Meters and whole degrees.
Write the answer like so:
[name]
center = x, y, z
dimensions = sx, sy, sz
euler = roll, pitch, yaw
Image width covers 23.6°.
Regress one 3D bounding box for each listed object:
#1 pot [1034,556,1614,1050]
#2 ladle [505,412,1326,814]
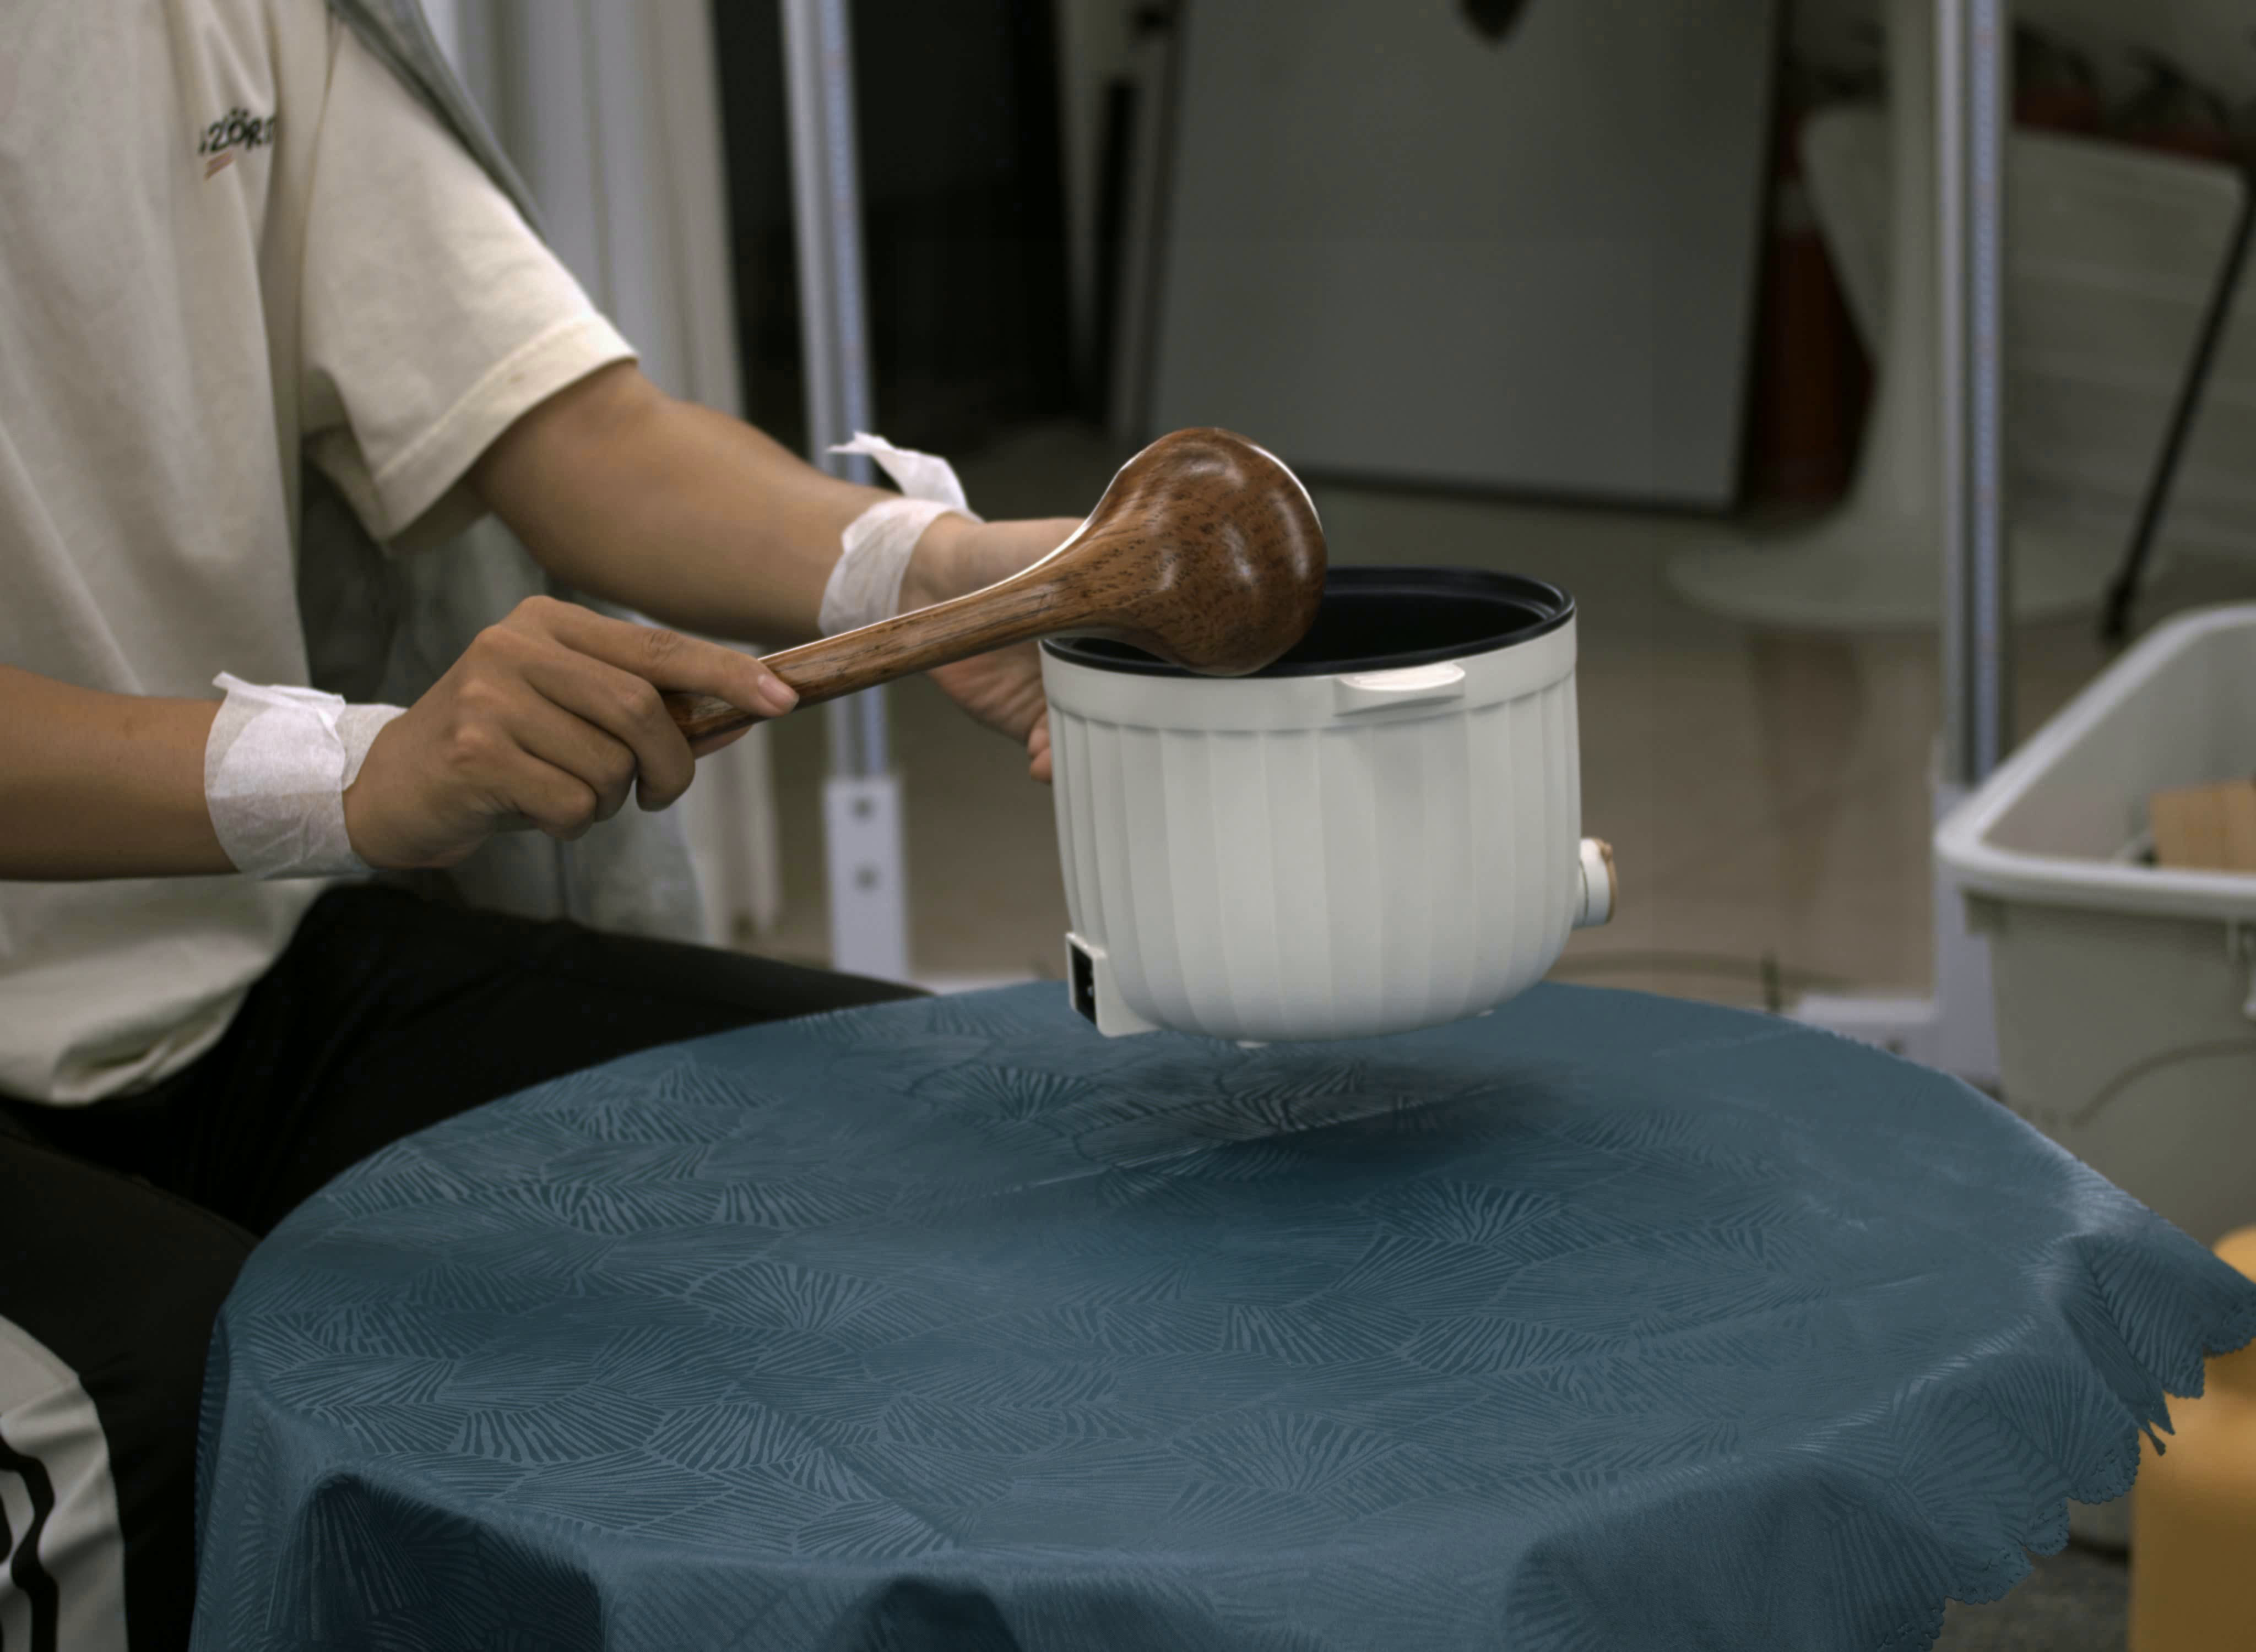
[pot]
center = 0.068, -0.008, 1.822
dimensions = 0.187, 0.144, 0.242
euler = -11, 14, -14
[ladle]
center = -0.068, -0.059, 1.743
dimensions = 0.273, 0.083, 0.076
euler = -19, -8, 17
